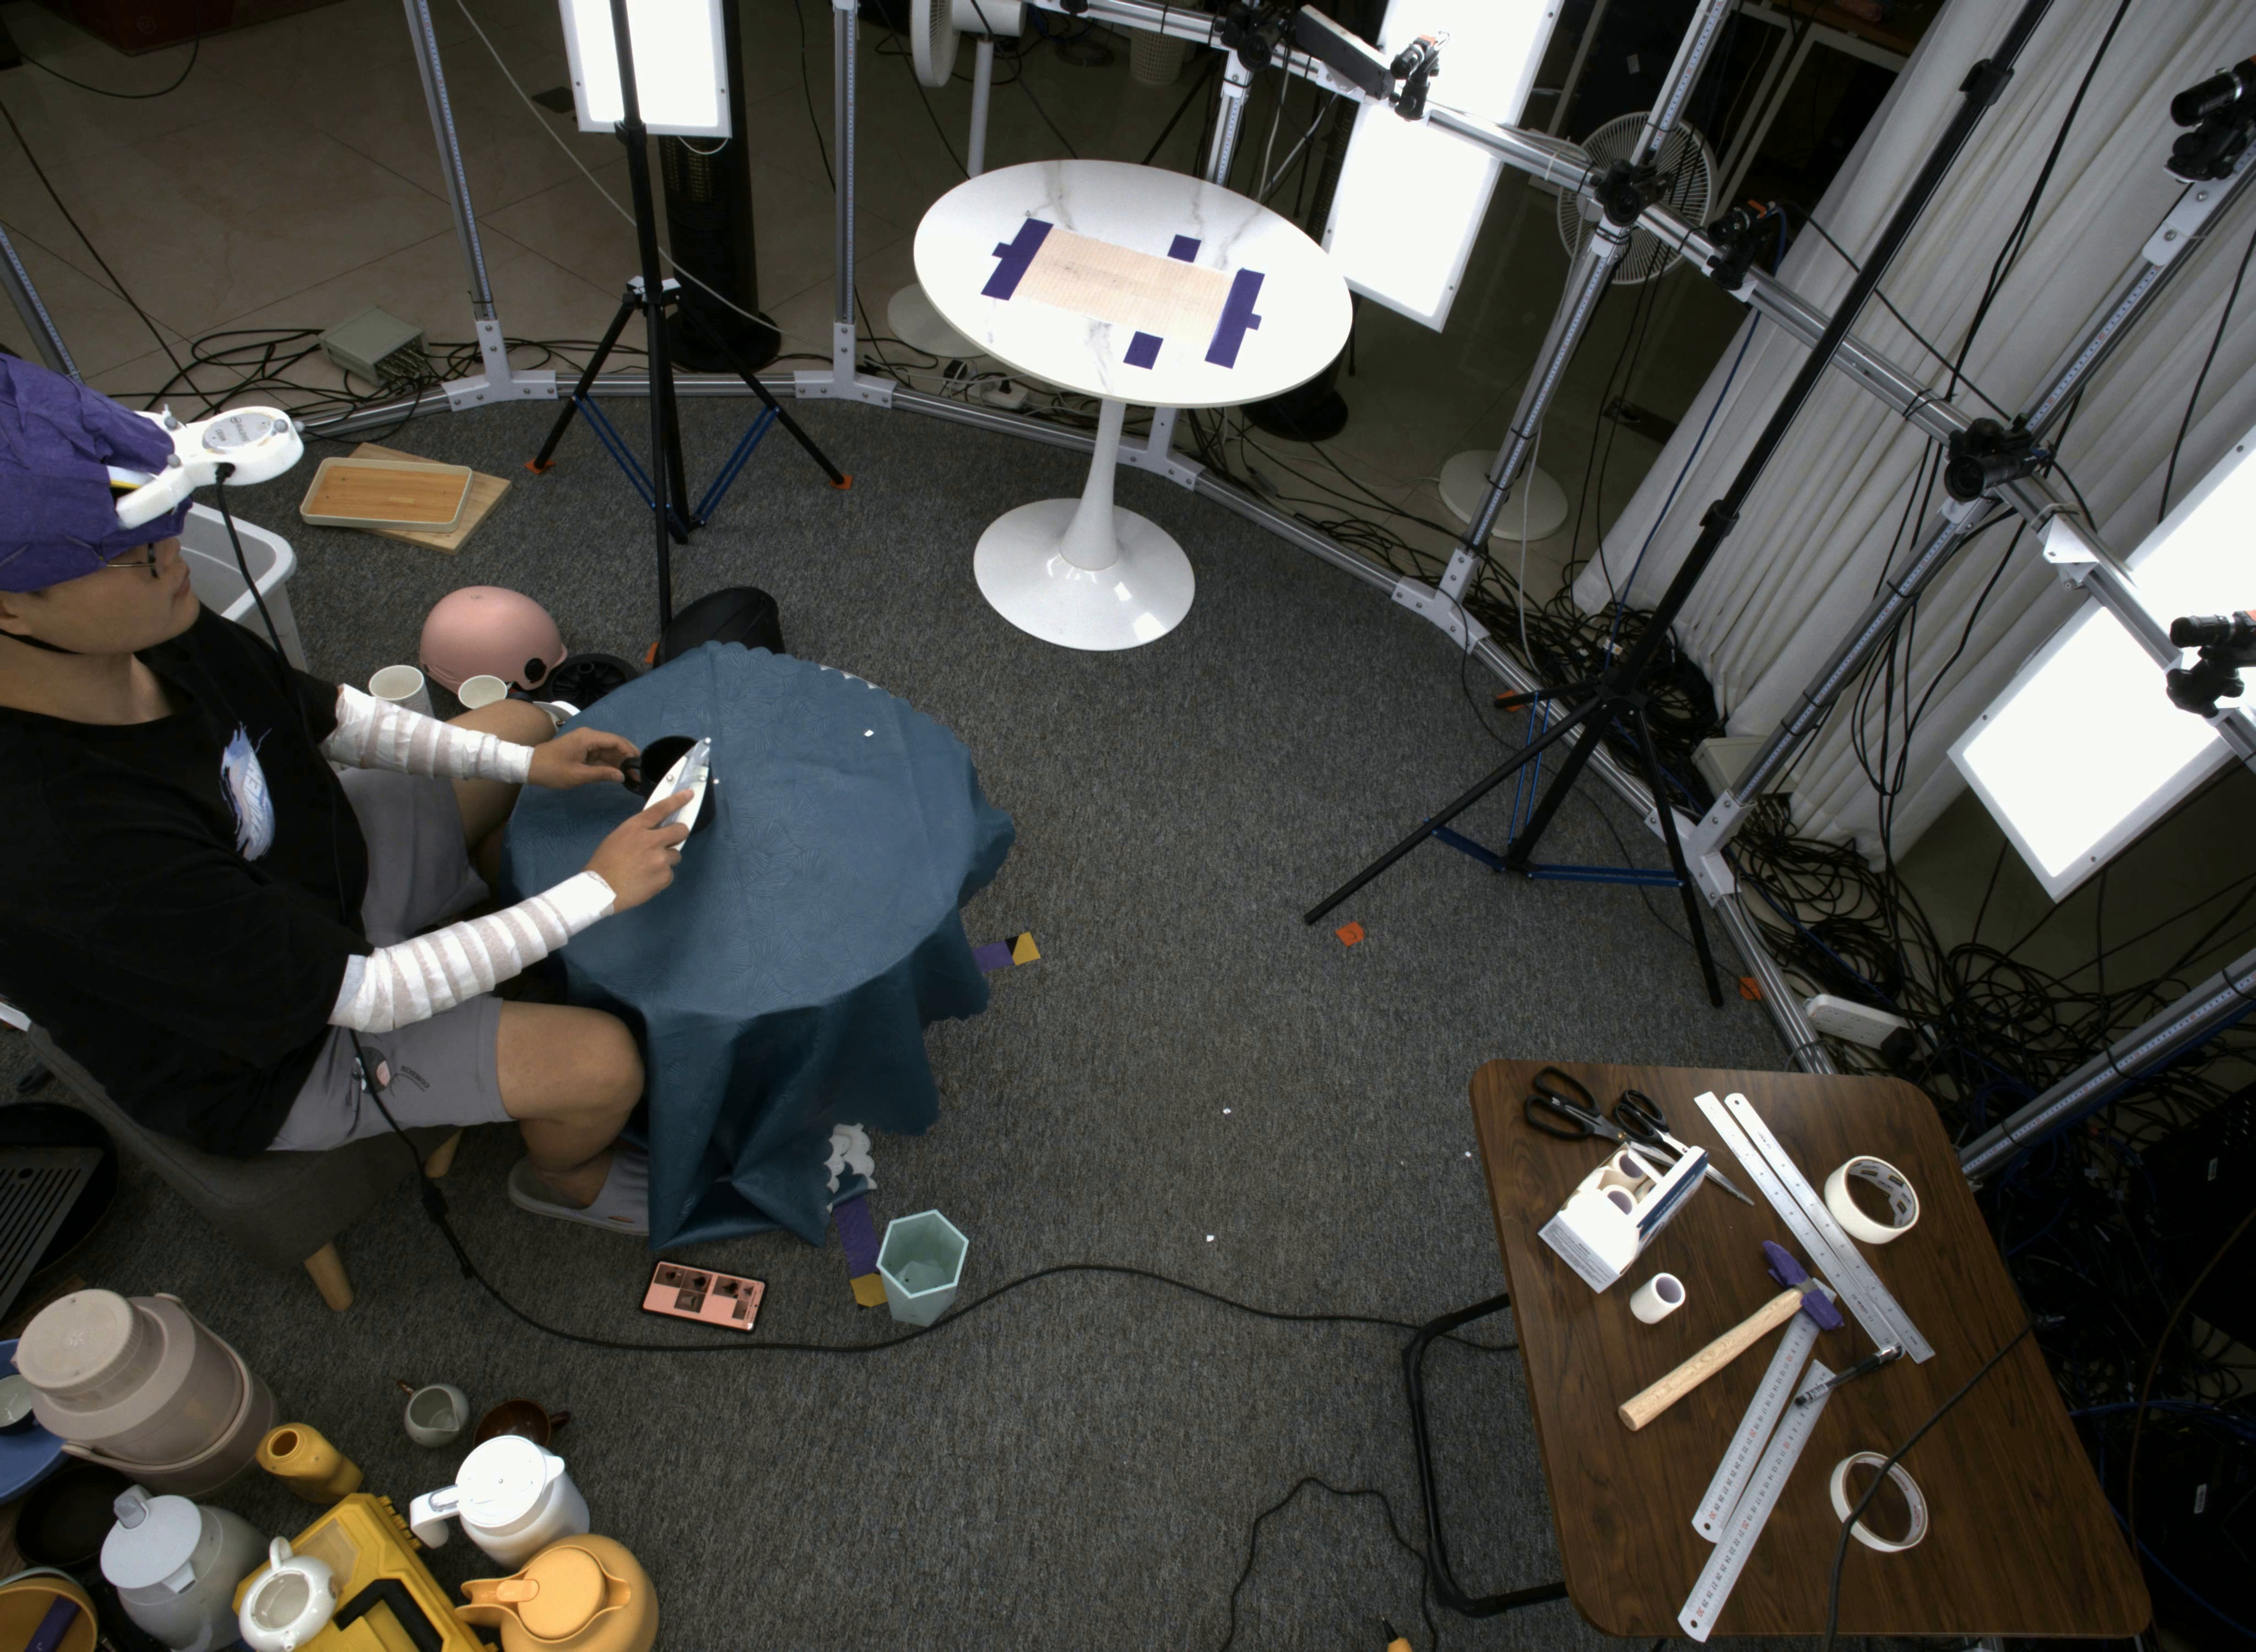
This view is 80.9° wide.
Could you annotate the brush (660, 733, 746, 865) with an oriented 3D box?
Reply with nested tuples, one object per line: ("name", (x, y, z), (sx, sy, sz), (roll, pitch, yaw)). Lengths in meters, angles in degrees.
("brush", (-0.512, -0.043, 1.585), (0.062, 0.092, 0.175), (29, 74, -19))

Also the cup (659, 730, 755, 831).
("cup", (-0.554, -0.064, 1.685), (0.122, 0.107, 0.088), (15, 56, 1))
